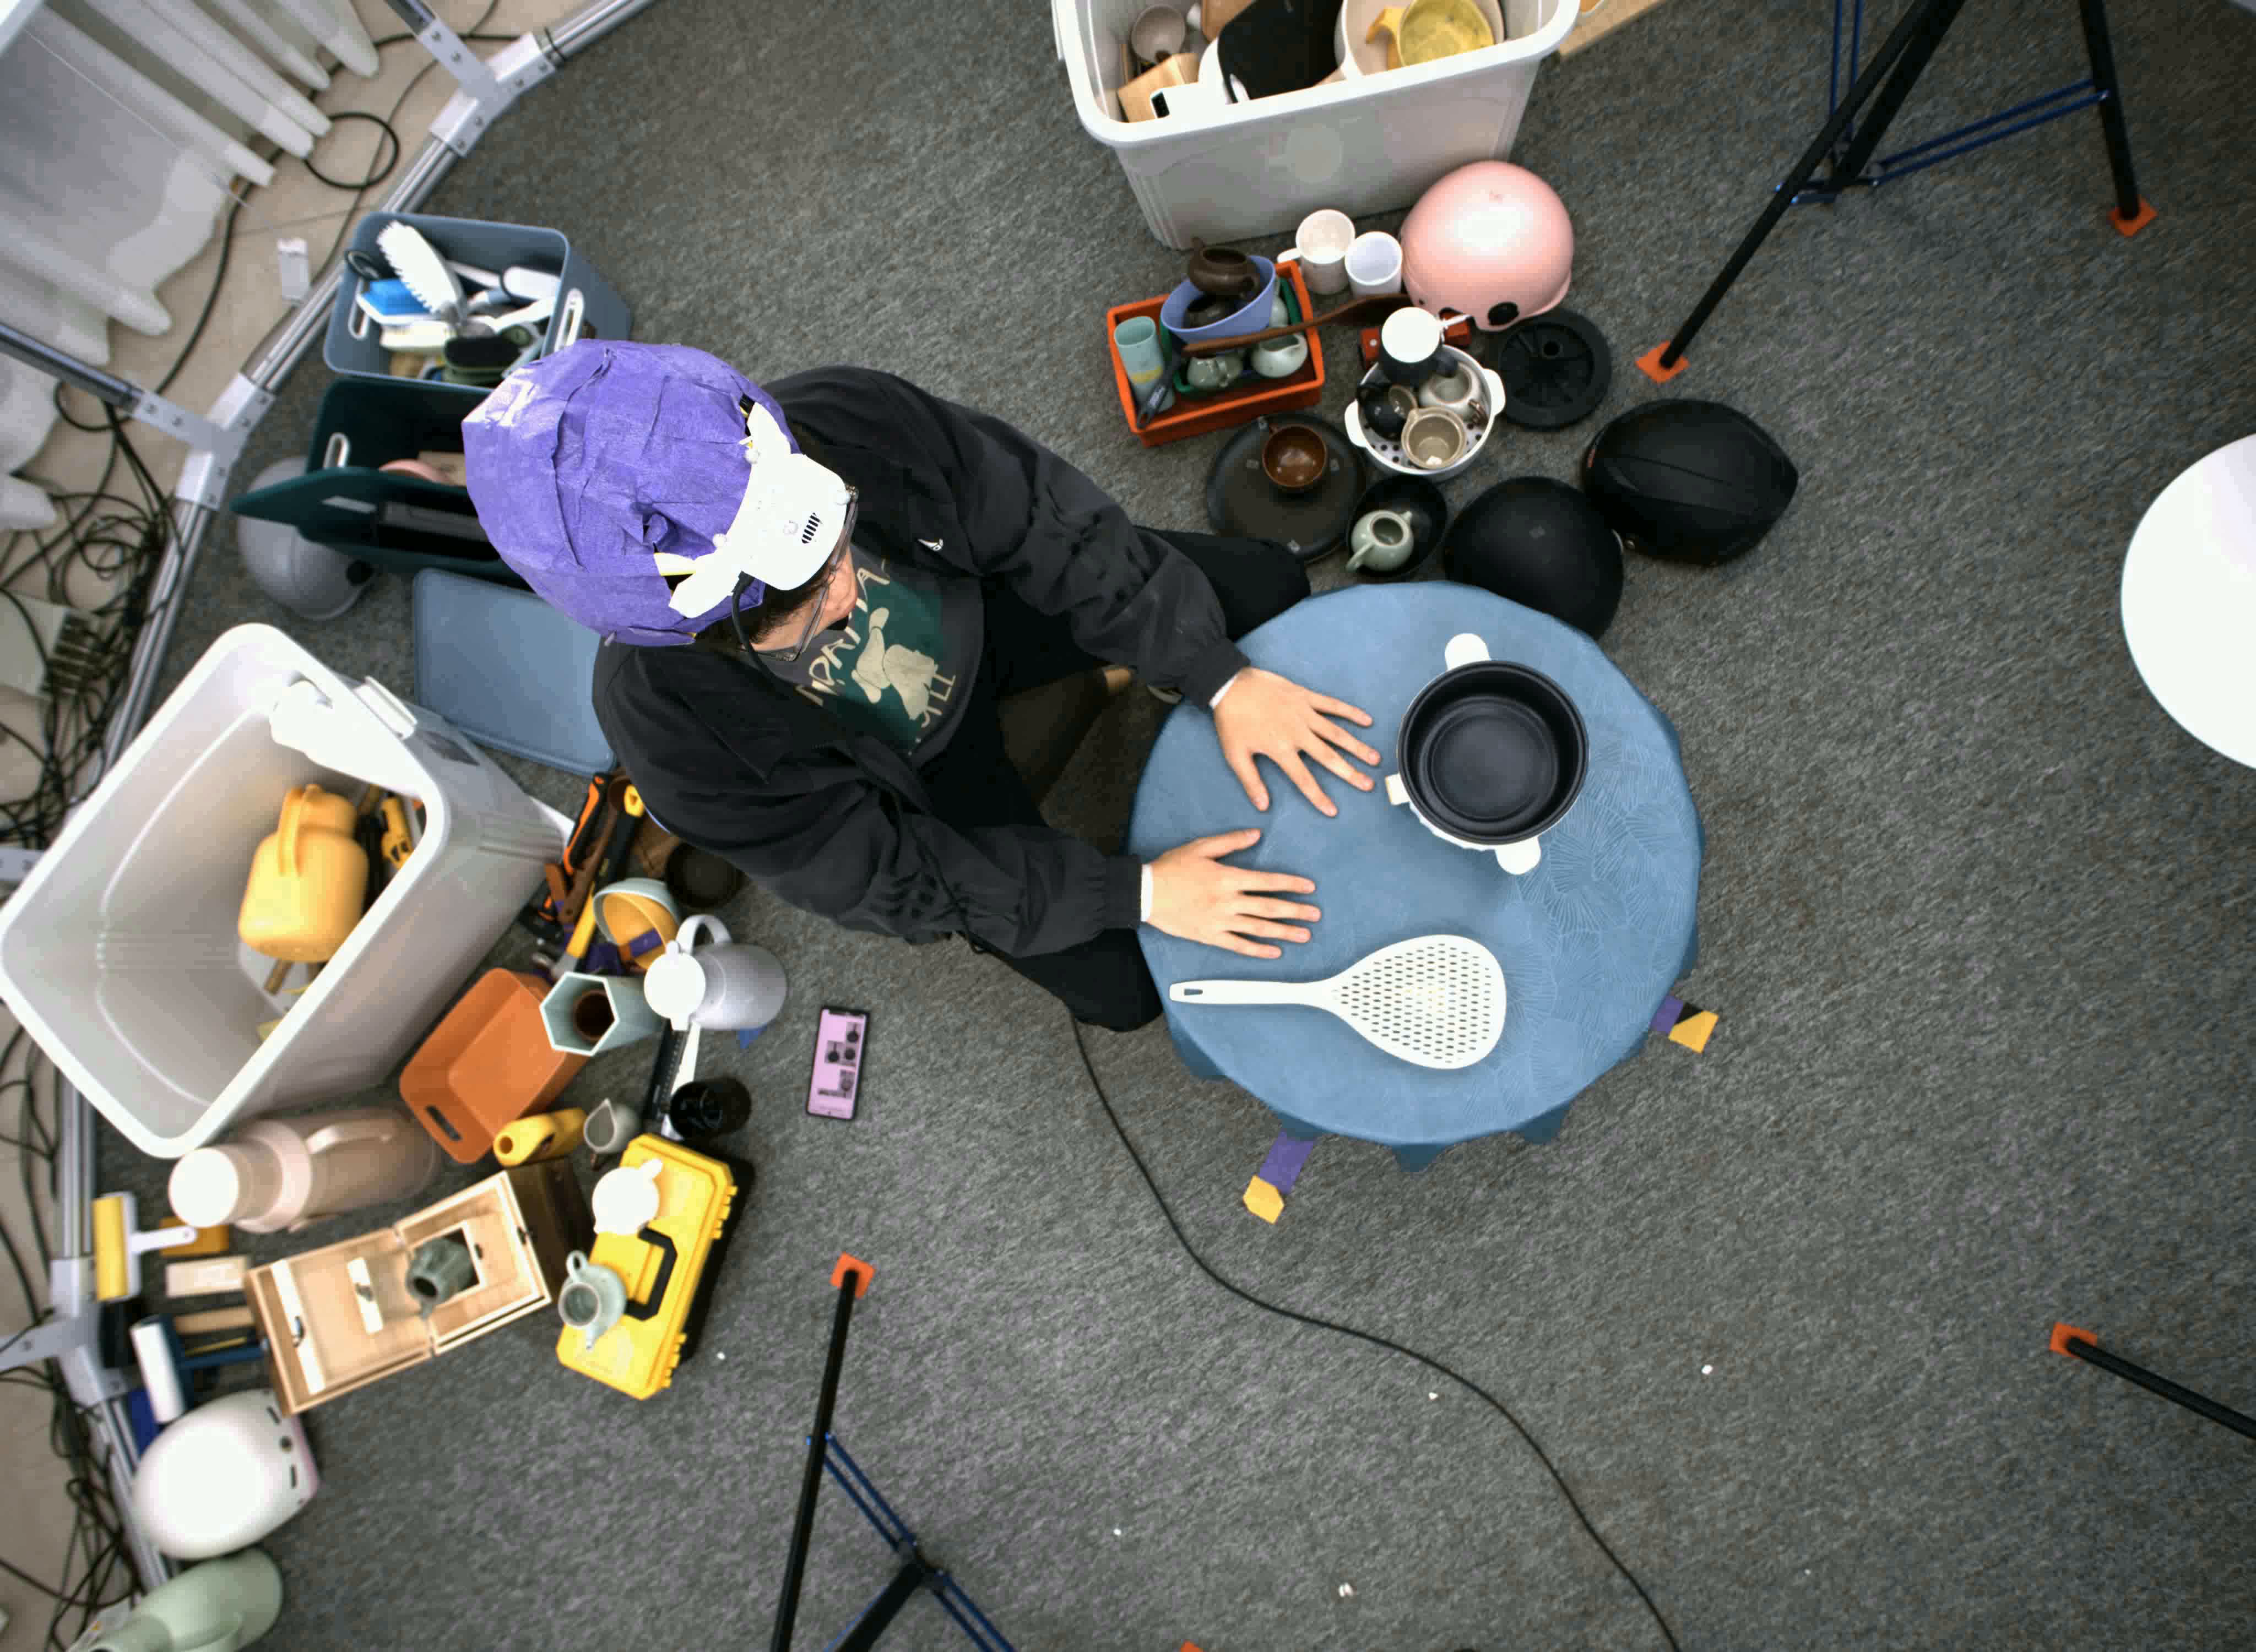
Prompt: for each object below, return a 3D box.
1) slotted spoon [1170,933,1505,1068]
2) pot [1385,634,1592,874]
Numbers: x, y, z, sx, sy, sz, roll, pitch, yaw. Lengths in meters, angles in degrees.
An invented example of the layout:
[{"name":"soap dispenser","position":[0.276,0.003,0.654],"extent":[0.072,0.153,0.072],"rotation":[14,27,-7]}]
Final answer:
[{"name":"slotted spoon","position":[0.213,0.176,1.442],"extent":[0.349,0.050,0.136],"rotation":[1,89,10]},{"name":"pot","position":[0.357,-0.063,1.379],"extent":[0.191,0.143,0.239],"rotation":[-14,83,6]}]
